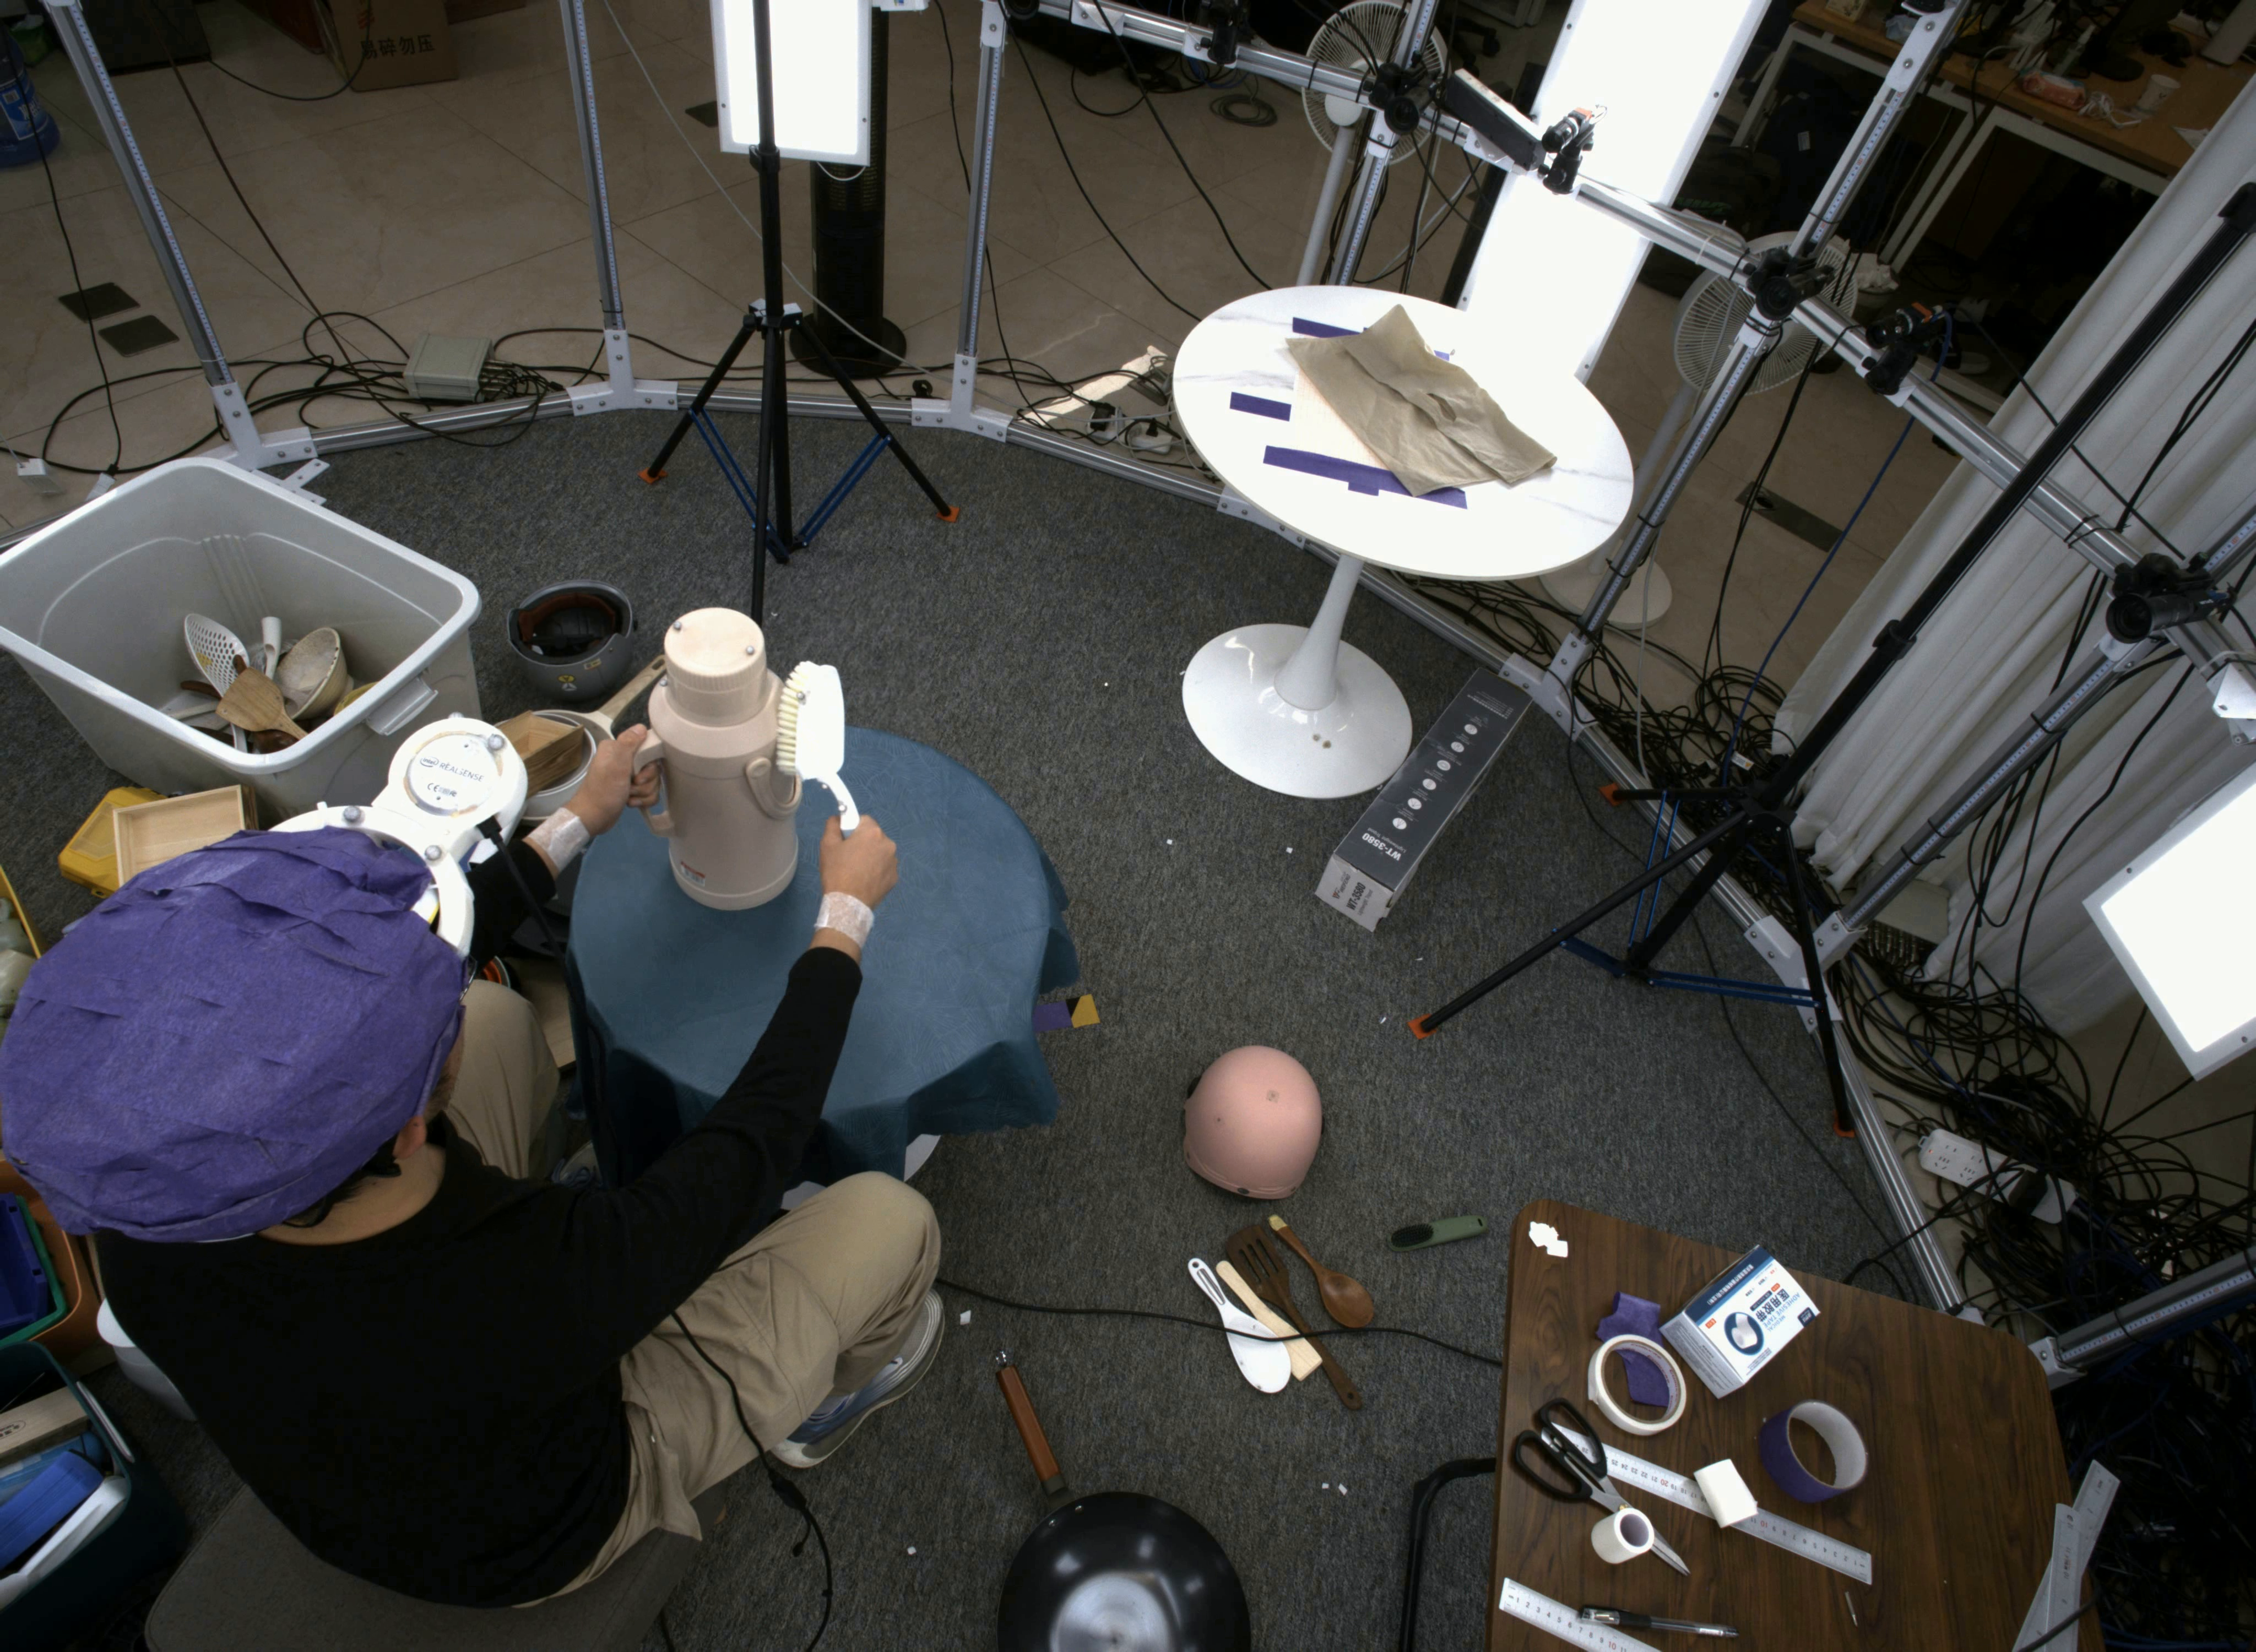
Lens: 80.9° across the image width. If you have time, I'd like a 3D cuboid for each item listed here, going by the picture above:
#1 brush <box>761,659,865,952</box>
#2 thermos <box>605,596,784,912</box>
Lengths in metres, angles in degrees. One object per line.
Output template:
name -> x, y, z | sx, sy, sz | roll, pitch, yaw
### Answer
brush -> -0.360, -0.020, 1.451 | 0.083, 0.082, 0.332 | -11, 101, -20
thermos -> -0.504, -0.074, 1.496 | 0.208, 0.414, 0.171 | -31, 65, -31
